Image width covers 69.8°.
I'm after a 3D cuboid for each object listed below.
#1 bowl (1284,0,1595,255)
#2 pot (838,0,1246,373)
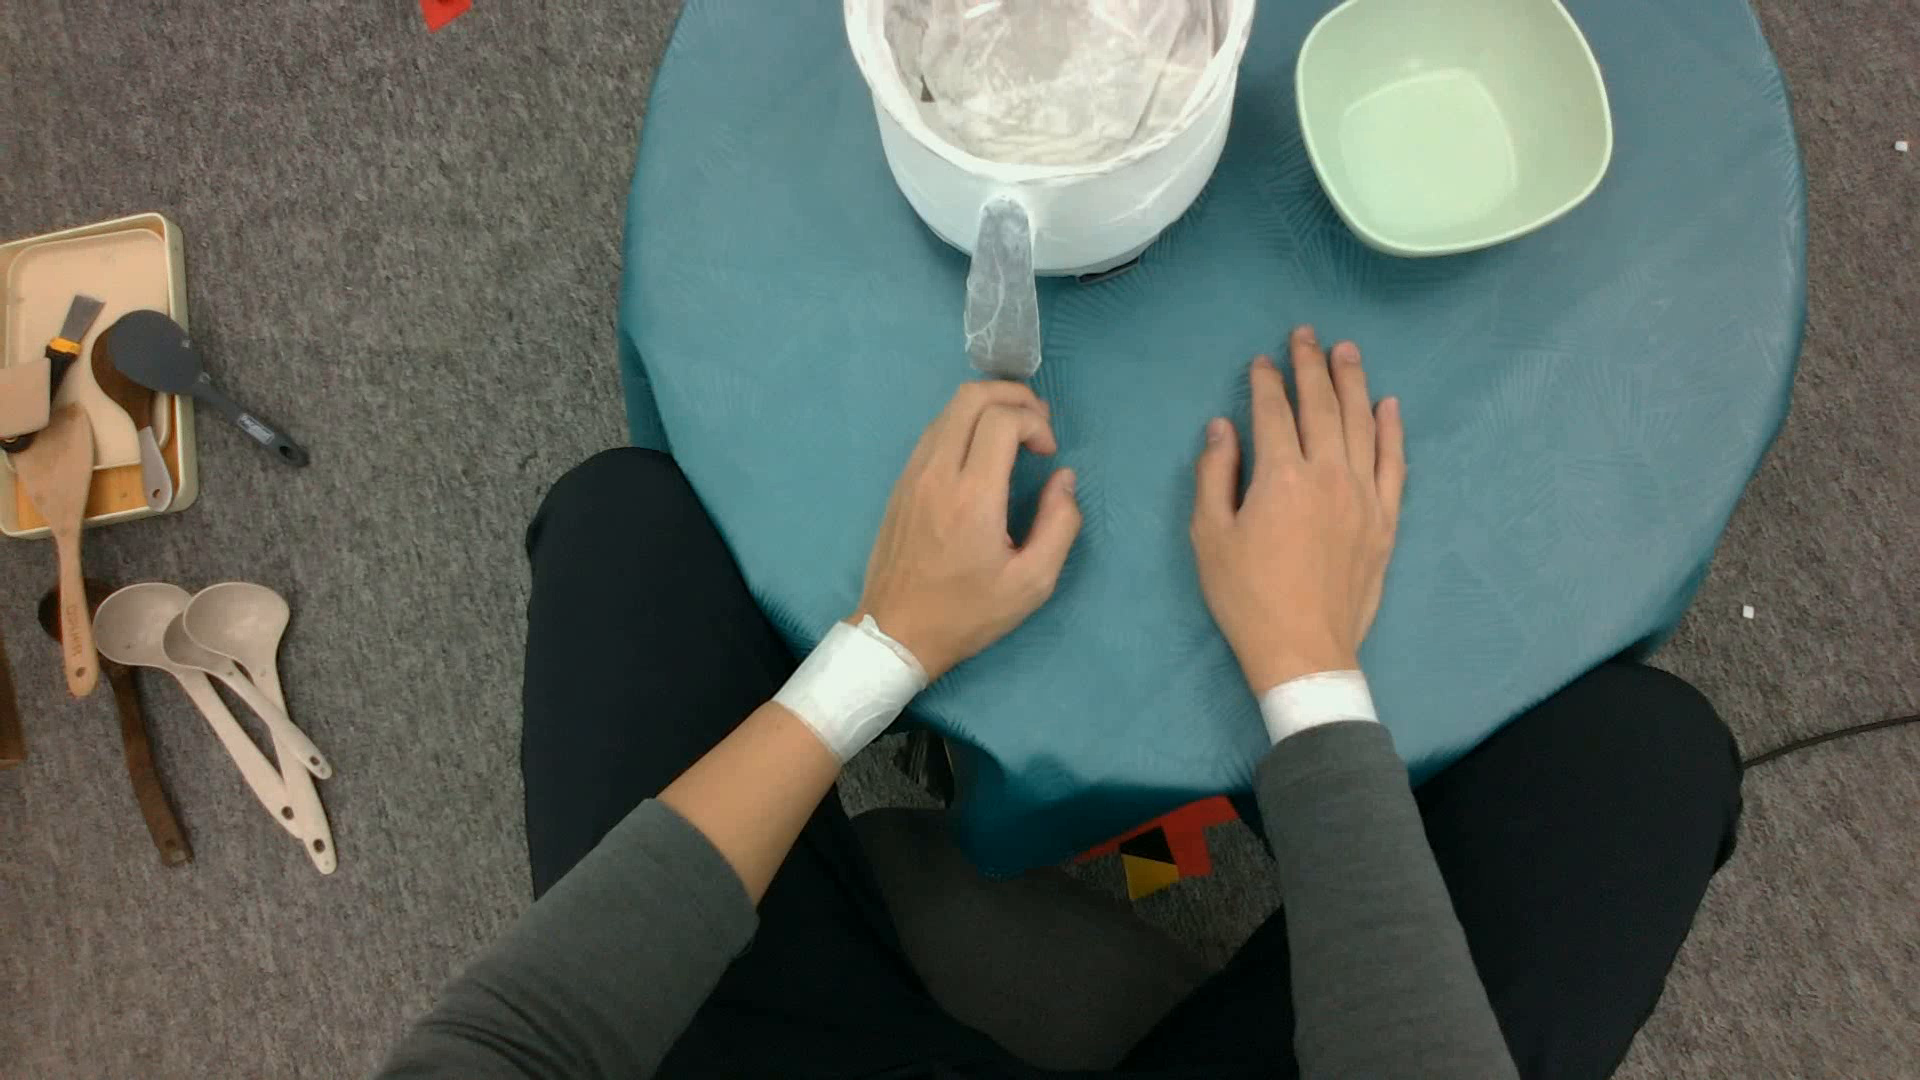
[{"bbox_3d":[0.229,-0.200,0.681,0.151,0.058,0.152,-1,78,4],"label":"bowl"},{"bbox_3d":[0.036,-0.202,0.656,0.178,0.136,0.234,9,81,6],"label":"pot"}]
